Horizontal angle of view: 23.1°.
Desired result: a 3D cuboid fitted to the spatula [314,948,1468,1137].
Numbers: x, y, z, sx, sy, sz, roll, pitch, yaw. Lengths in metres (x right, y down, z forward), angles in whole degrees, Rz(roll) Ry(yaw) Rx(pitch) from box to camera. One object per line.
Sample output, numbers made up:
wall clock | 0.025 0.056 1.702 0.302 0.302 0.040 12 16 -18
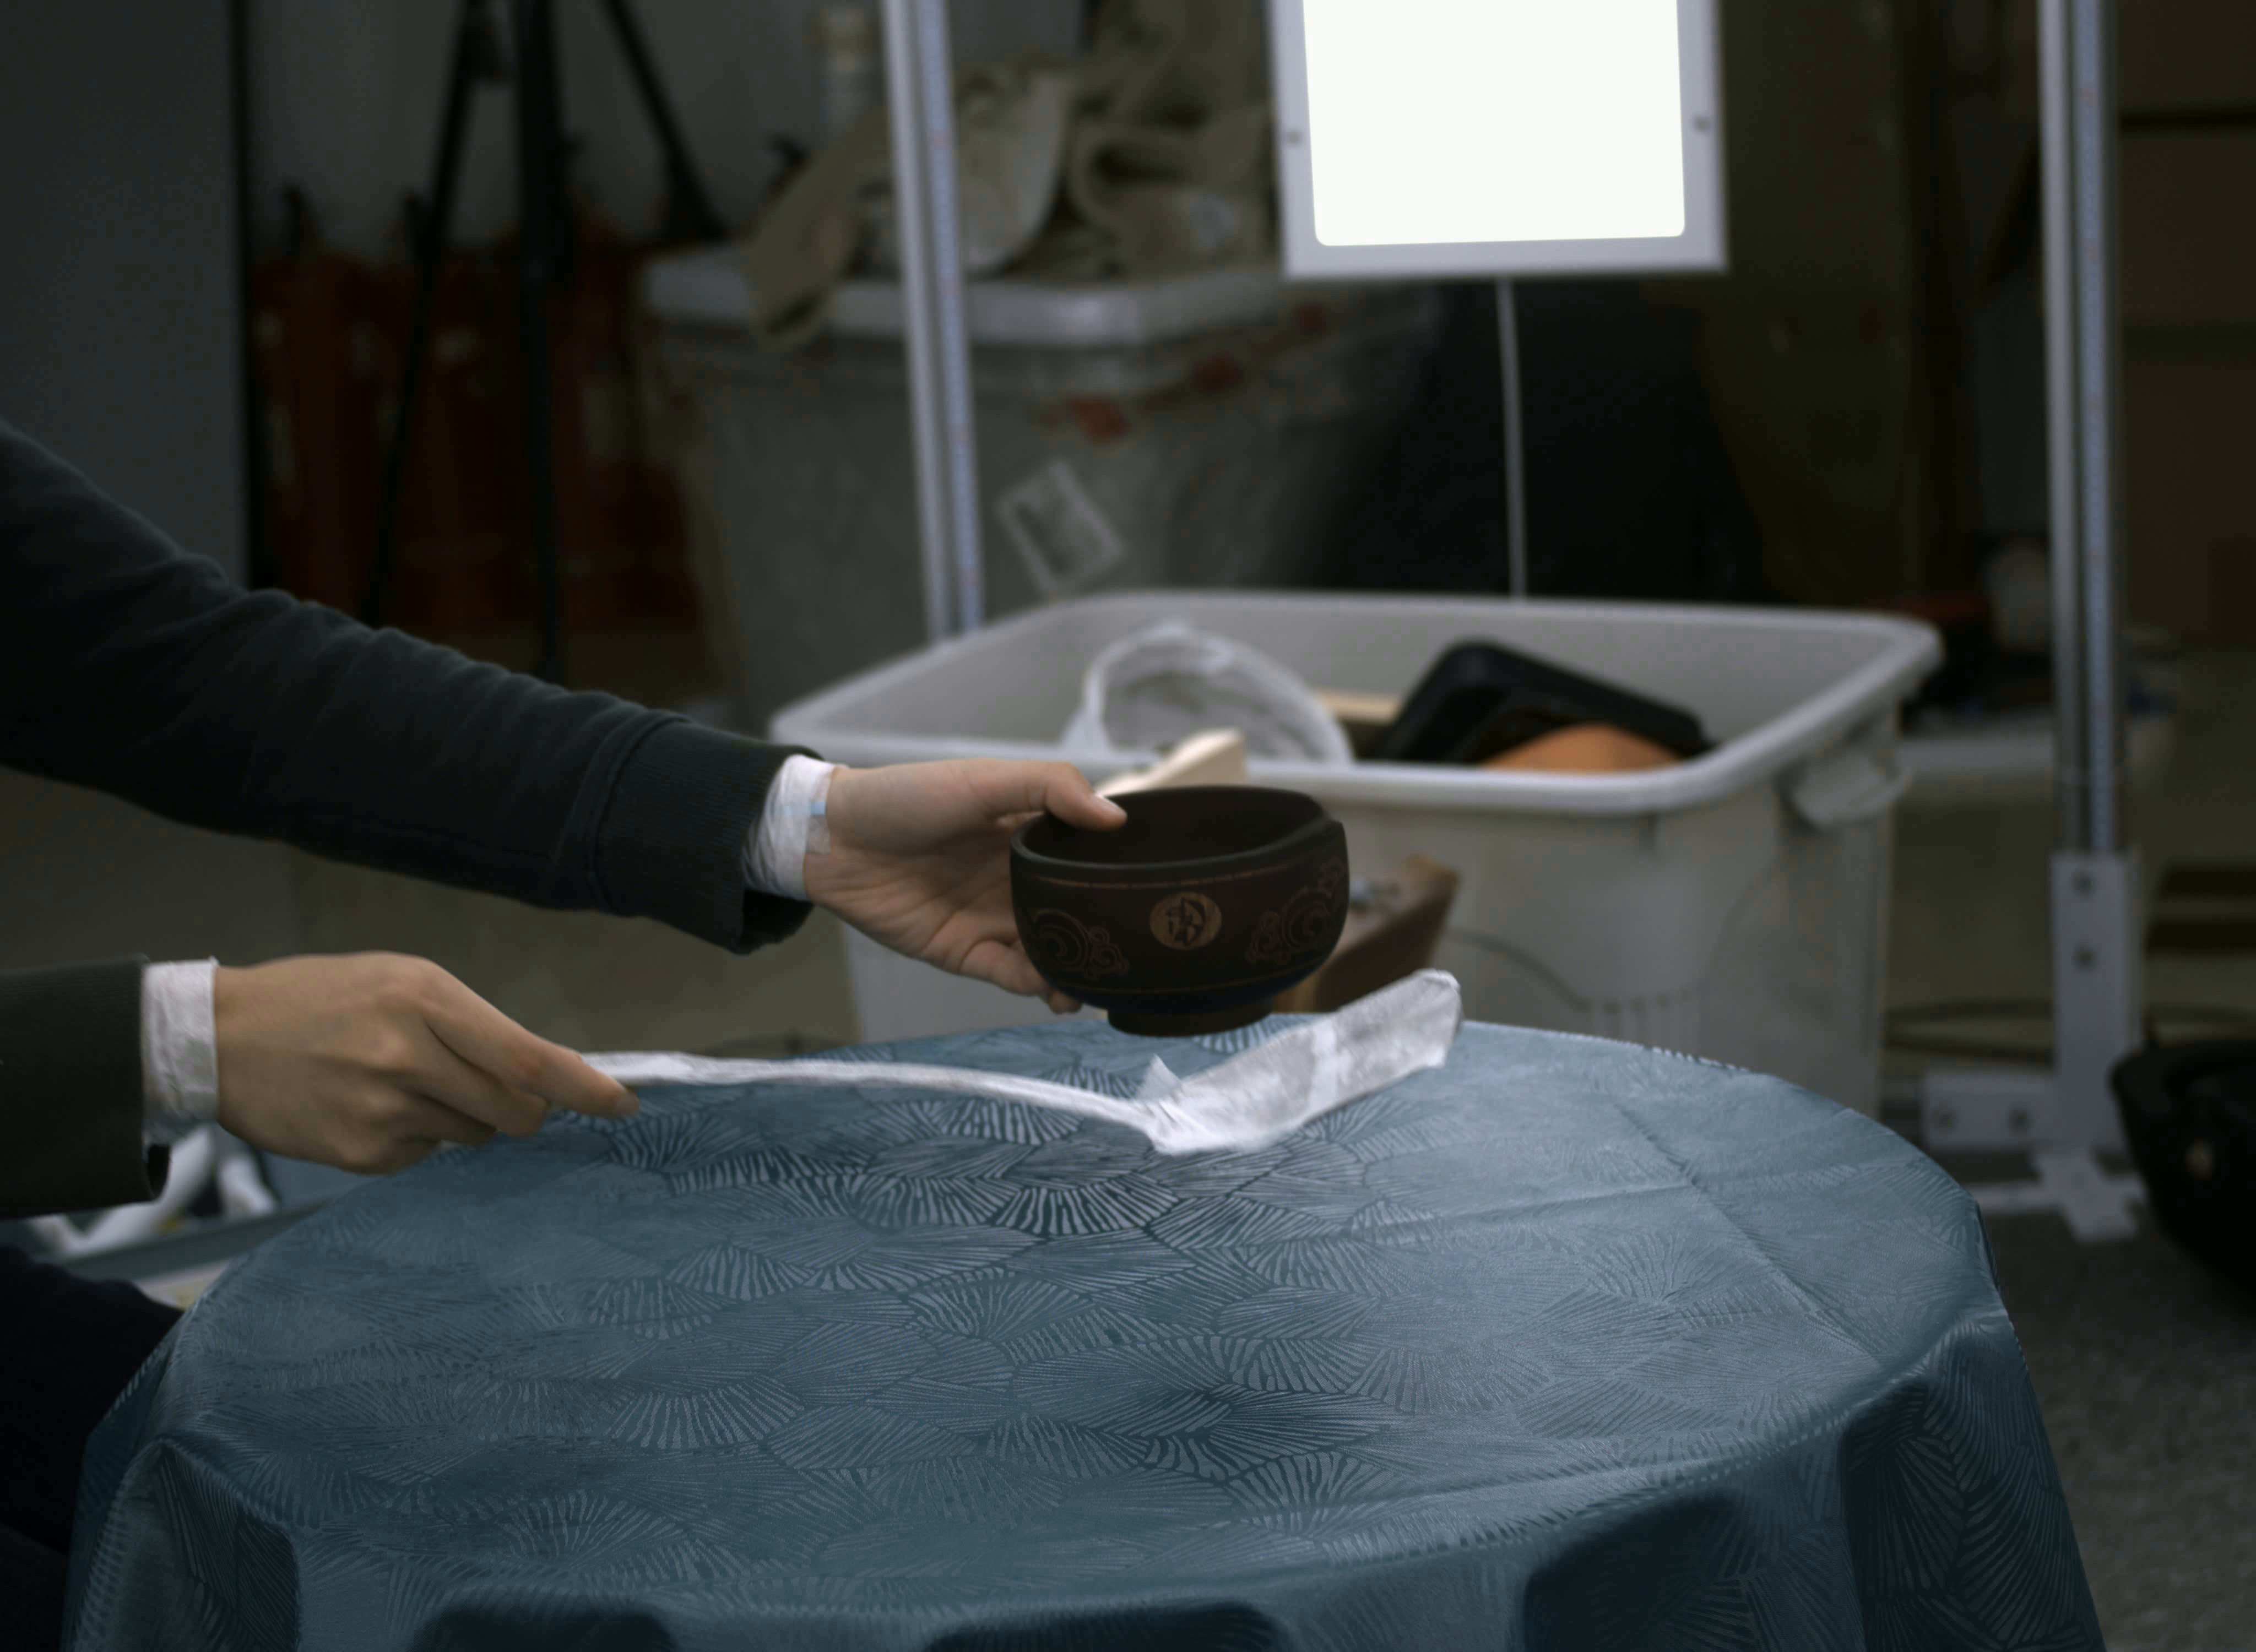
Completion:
spatula | -0.078 0.067 1.682 0.367 0.045 0.097 1 20 11

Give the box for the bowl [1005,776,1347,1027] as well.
bowl | 0.018 0.029 1.889 0.118 0.070 0.118 -6 12 0
